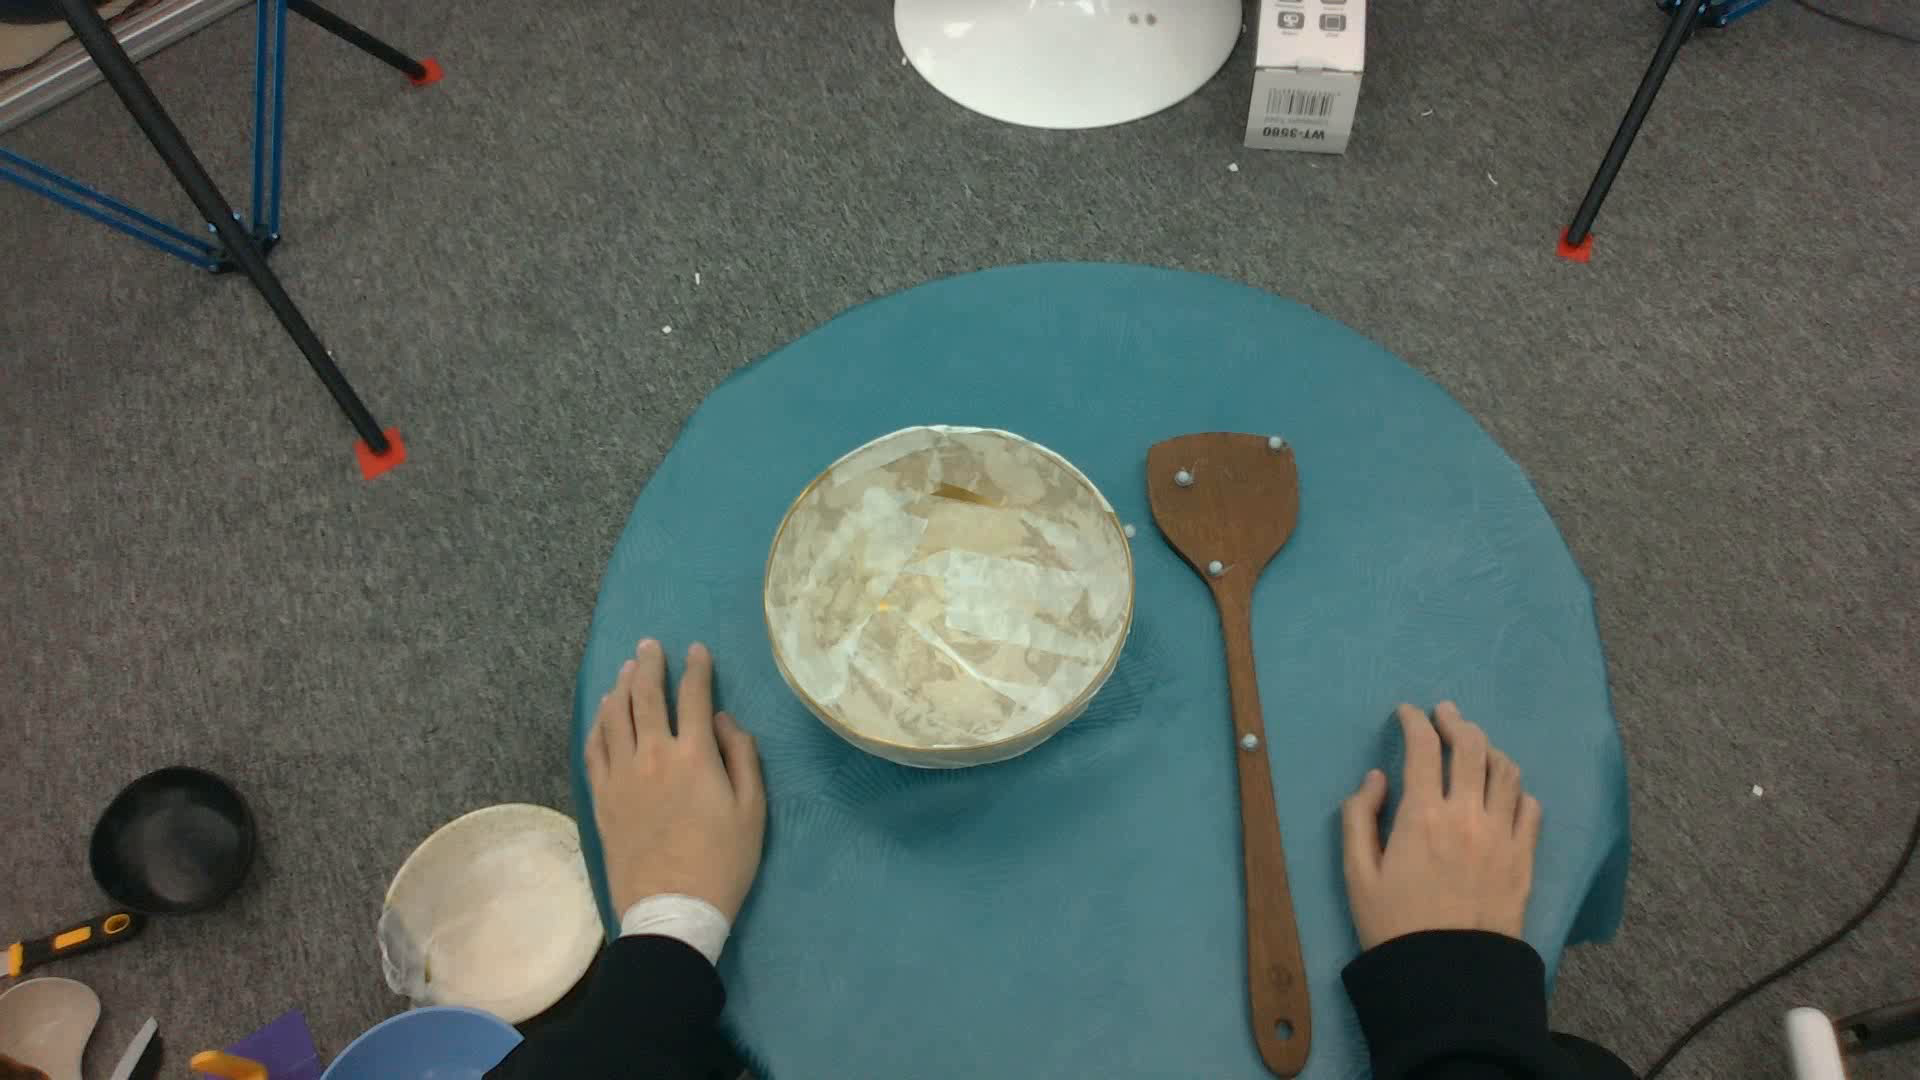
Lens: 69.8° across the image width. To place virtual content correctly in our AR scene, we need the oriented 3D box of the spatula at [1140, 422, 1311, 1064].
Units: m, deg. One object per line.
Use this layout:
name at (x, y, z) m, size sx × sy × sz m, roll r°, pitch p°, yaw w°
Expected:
spatula at (0.161, 0.092, 0.779) m, size 0.096 × 0.016 × 0.387 m, roll -1°, pitch 59°, yaw 1°

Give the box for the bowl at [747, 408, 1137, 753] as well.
bowl at (-0.011, 0.036, 0.770) m, size 0.215 × 0.094 × 0.215 m, roll 0°, pitch 59°, yaw 0°
